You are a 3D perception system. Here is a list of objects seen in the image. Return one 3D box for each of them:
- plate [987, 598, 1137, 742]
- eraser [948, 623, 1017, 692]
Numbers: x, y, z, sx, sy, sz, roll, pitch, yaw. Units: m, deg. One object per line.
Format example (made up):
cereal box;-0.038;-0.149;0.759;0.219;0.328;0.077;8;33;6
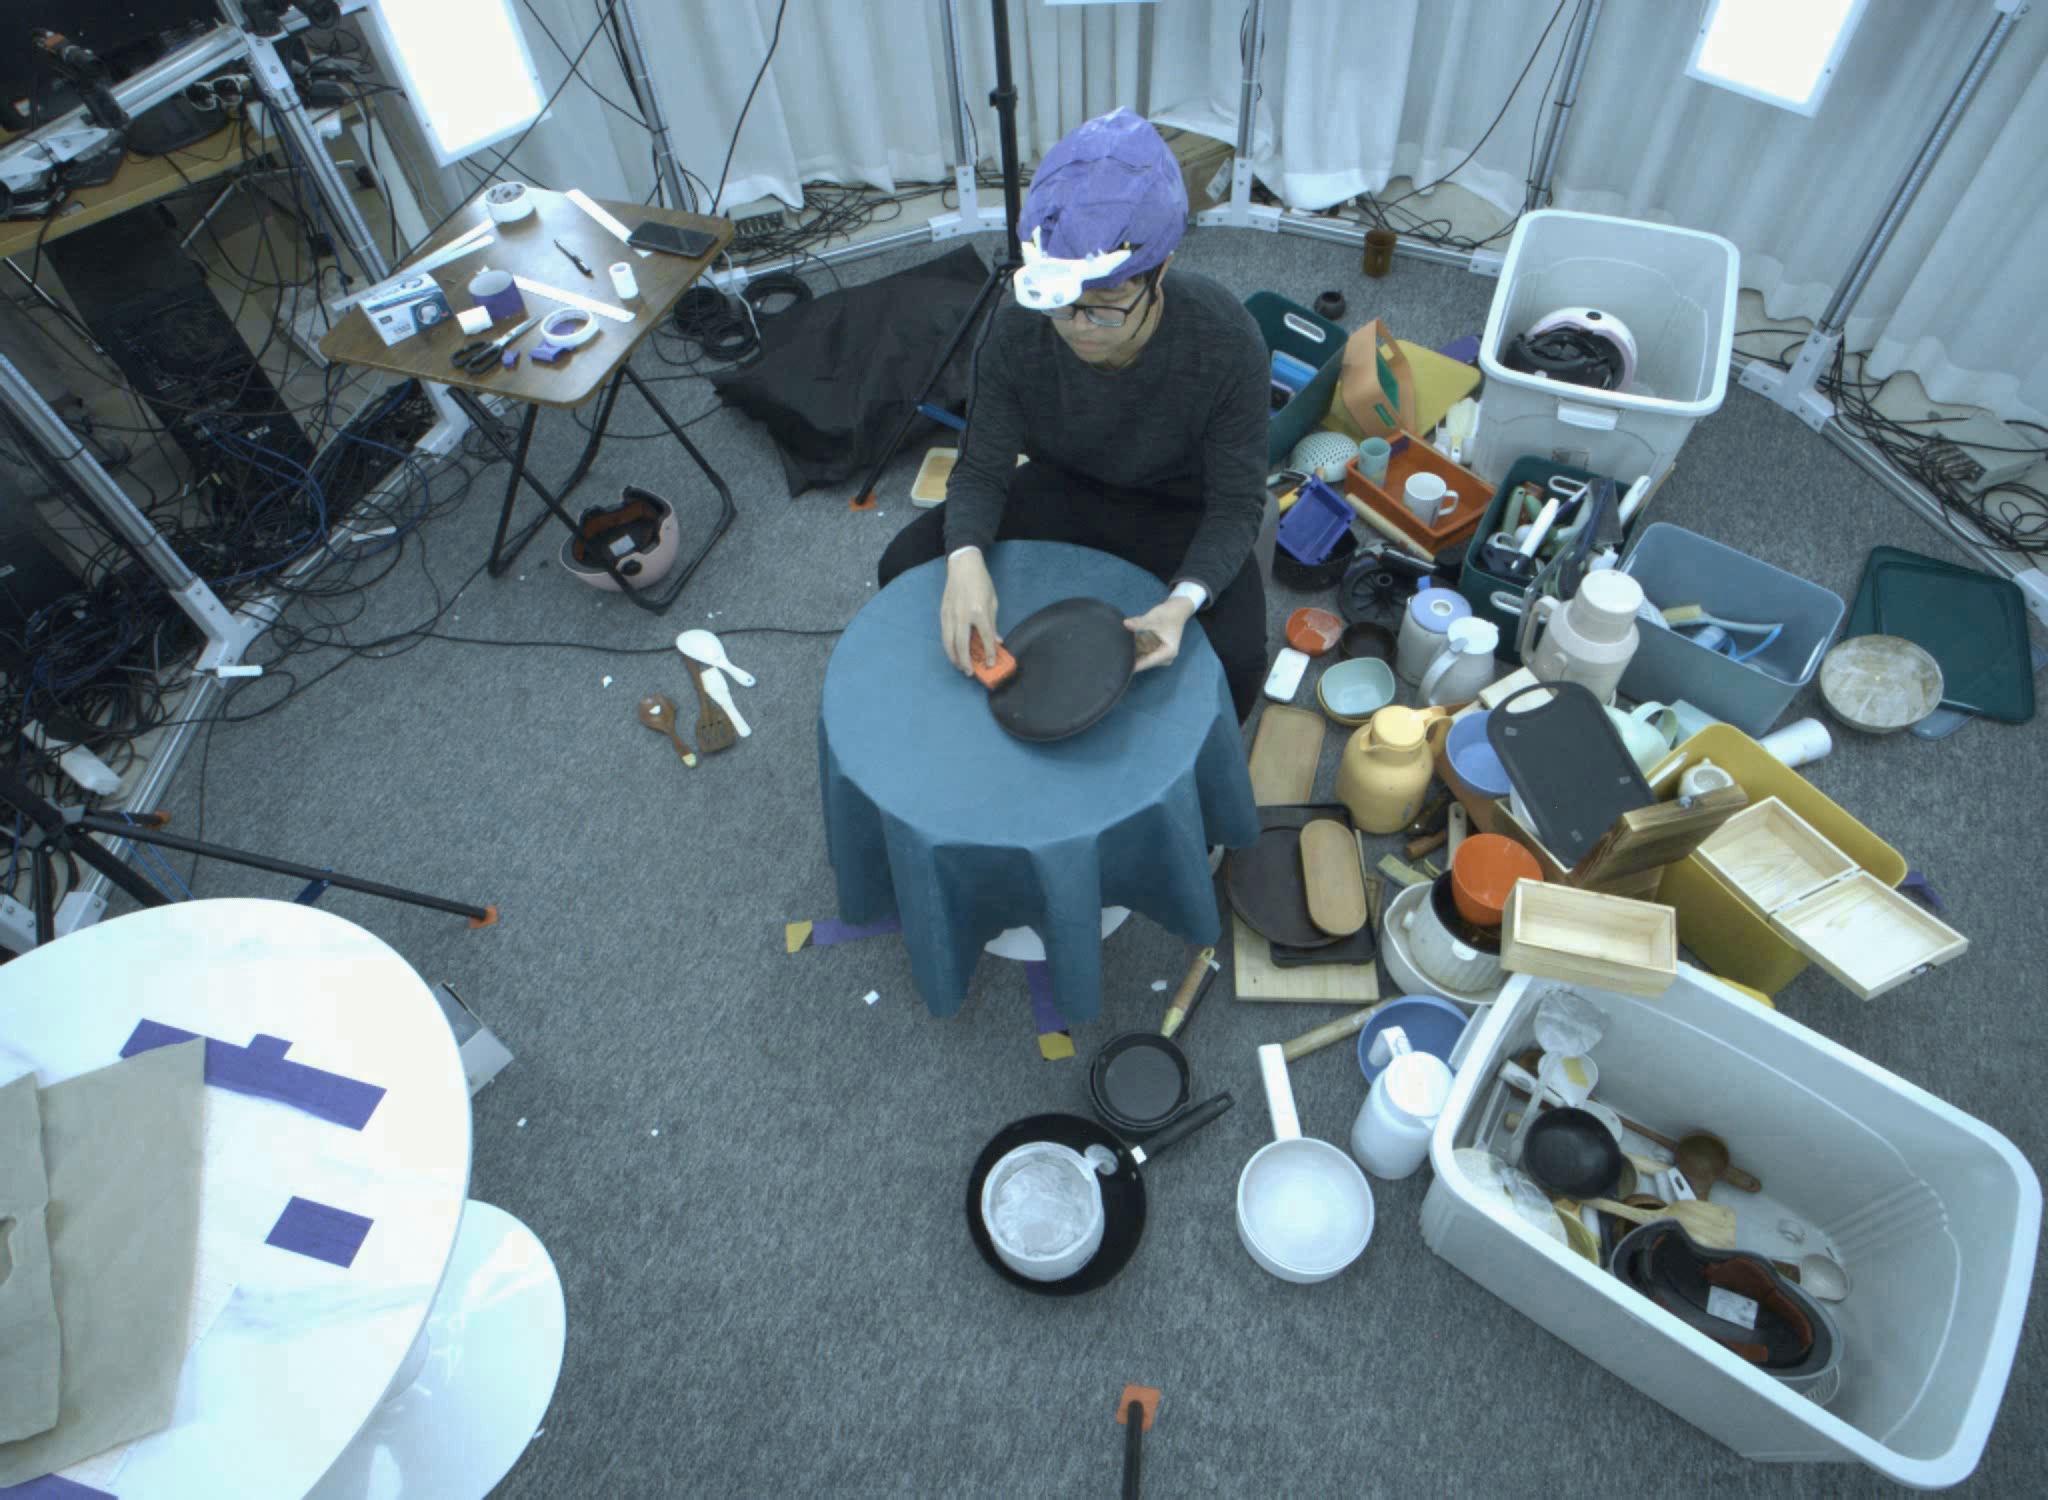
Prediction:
plate;0.057;-0.116;1.811;0.241;0.024;0.242;-12;59;22
eraser;-0.063;-0.141;1.856;0.059;0.023;0.106;-40;66;-12
